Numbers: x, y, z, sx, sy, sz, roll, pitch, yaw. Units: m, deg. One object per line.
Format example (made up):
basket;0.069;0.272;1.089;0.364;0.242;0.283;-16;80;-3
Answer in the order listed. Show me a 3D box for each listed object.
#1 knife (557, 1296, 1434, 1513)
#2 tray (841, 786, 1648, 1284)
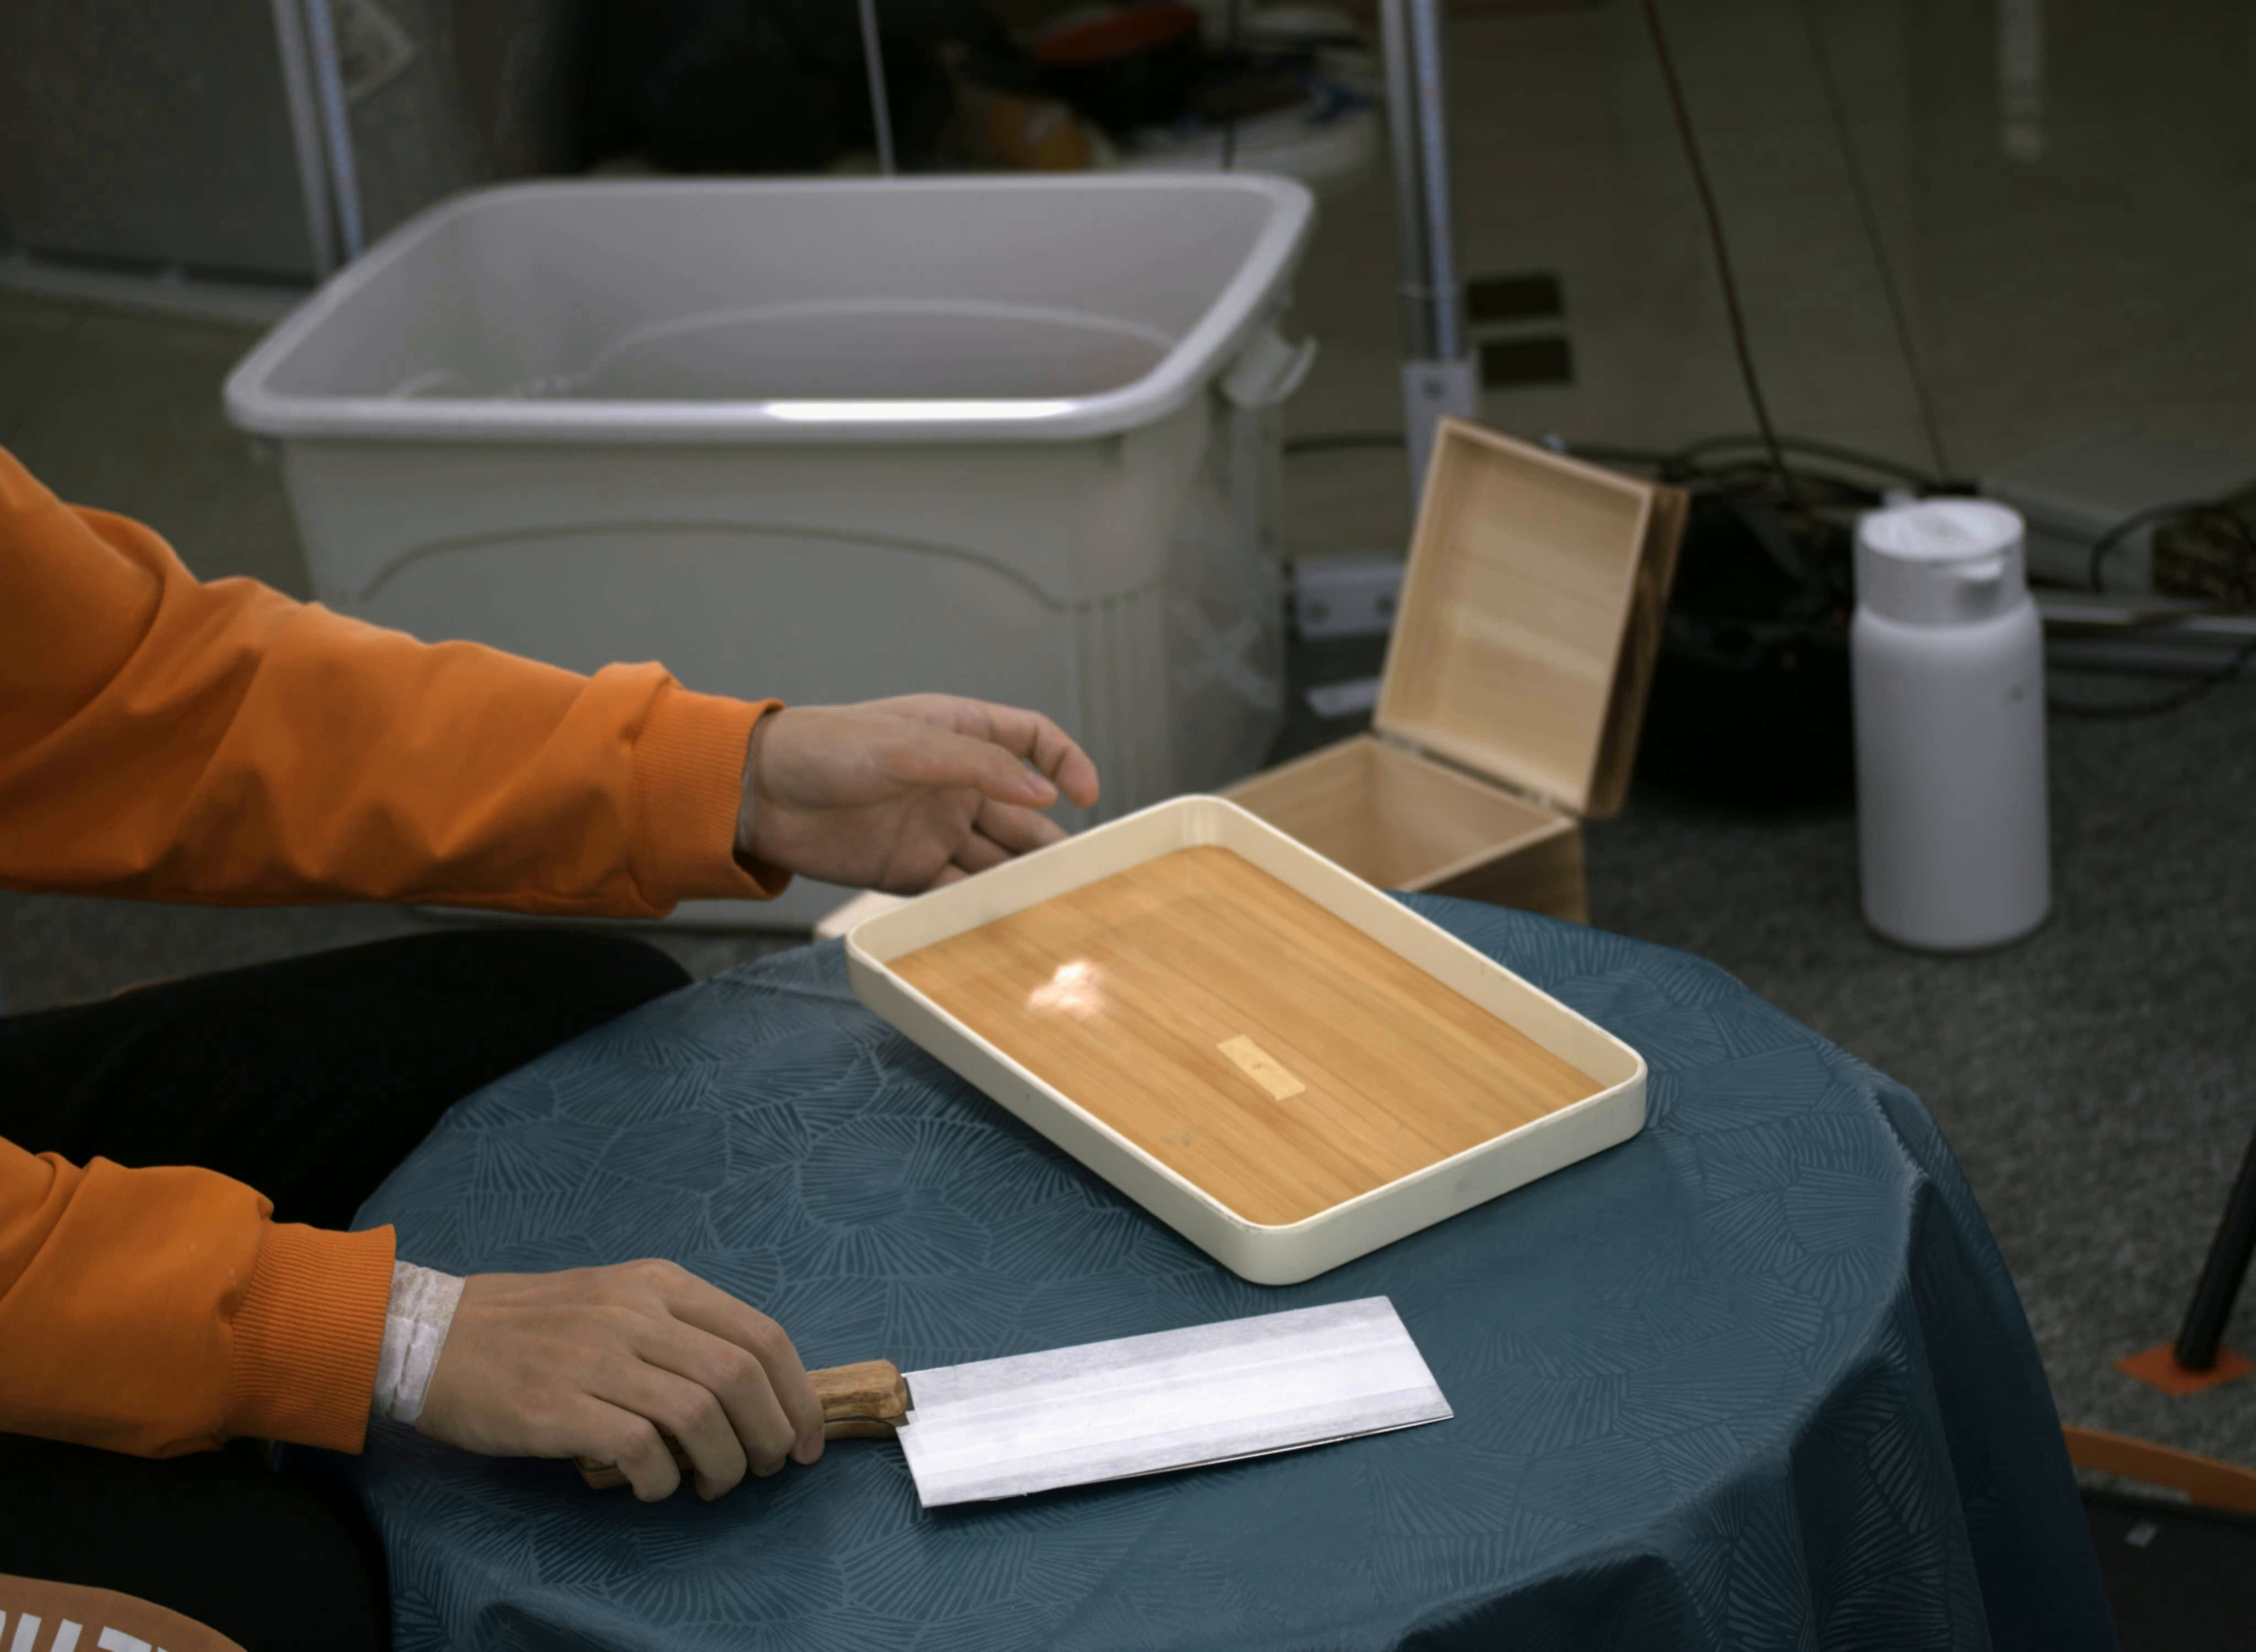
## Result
knife;-0.045;0.209;1.990;0.305;0.021;0.091;-9;26;-10
tray;0.042;0.076;2.207;0.190;0.028;0.297;-21;34;-29
